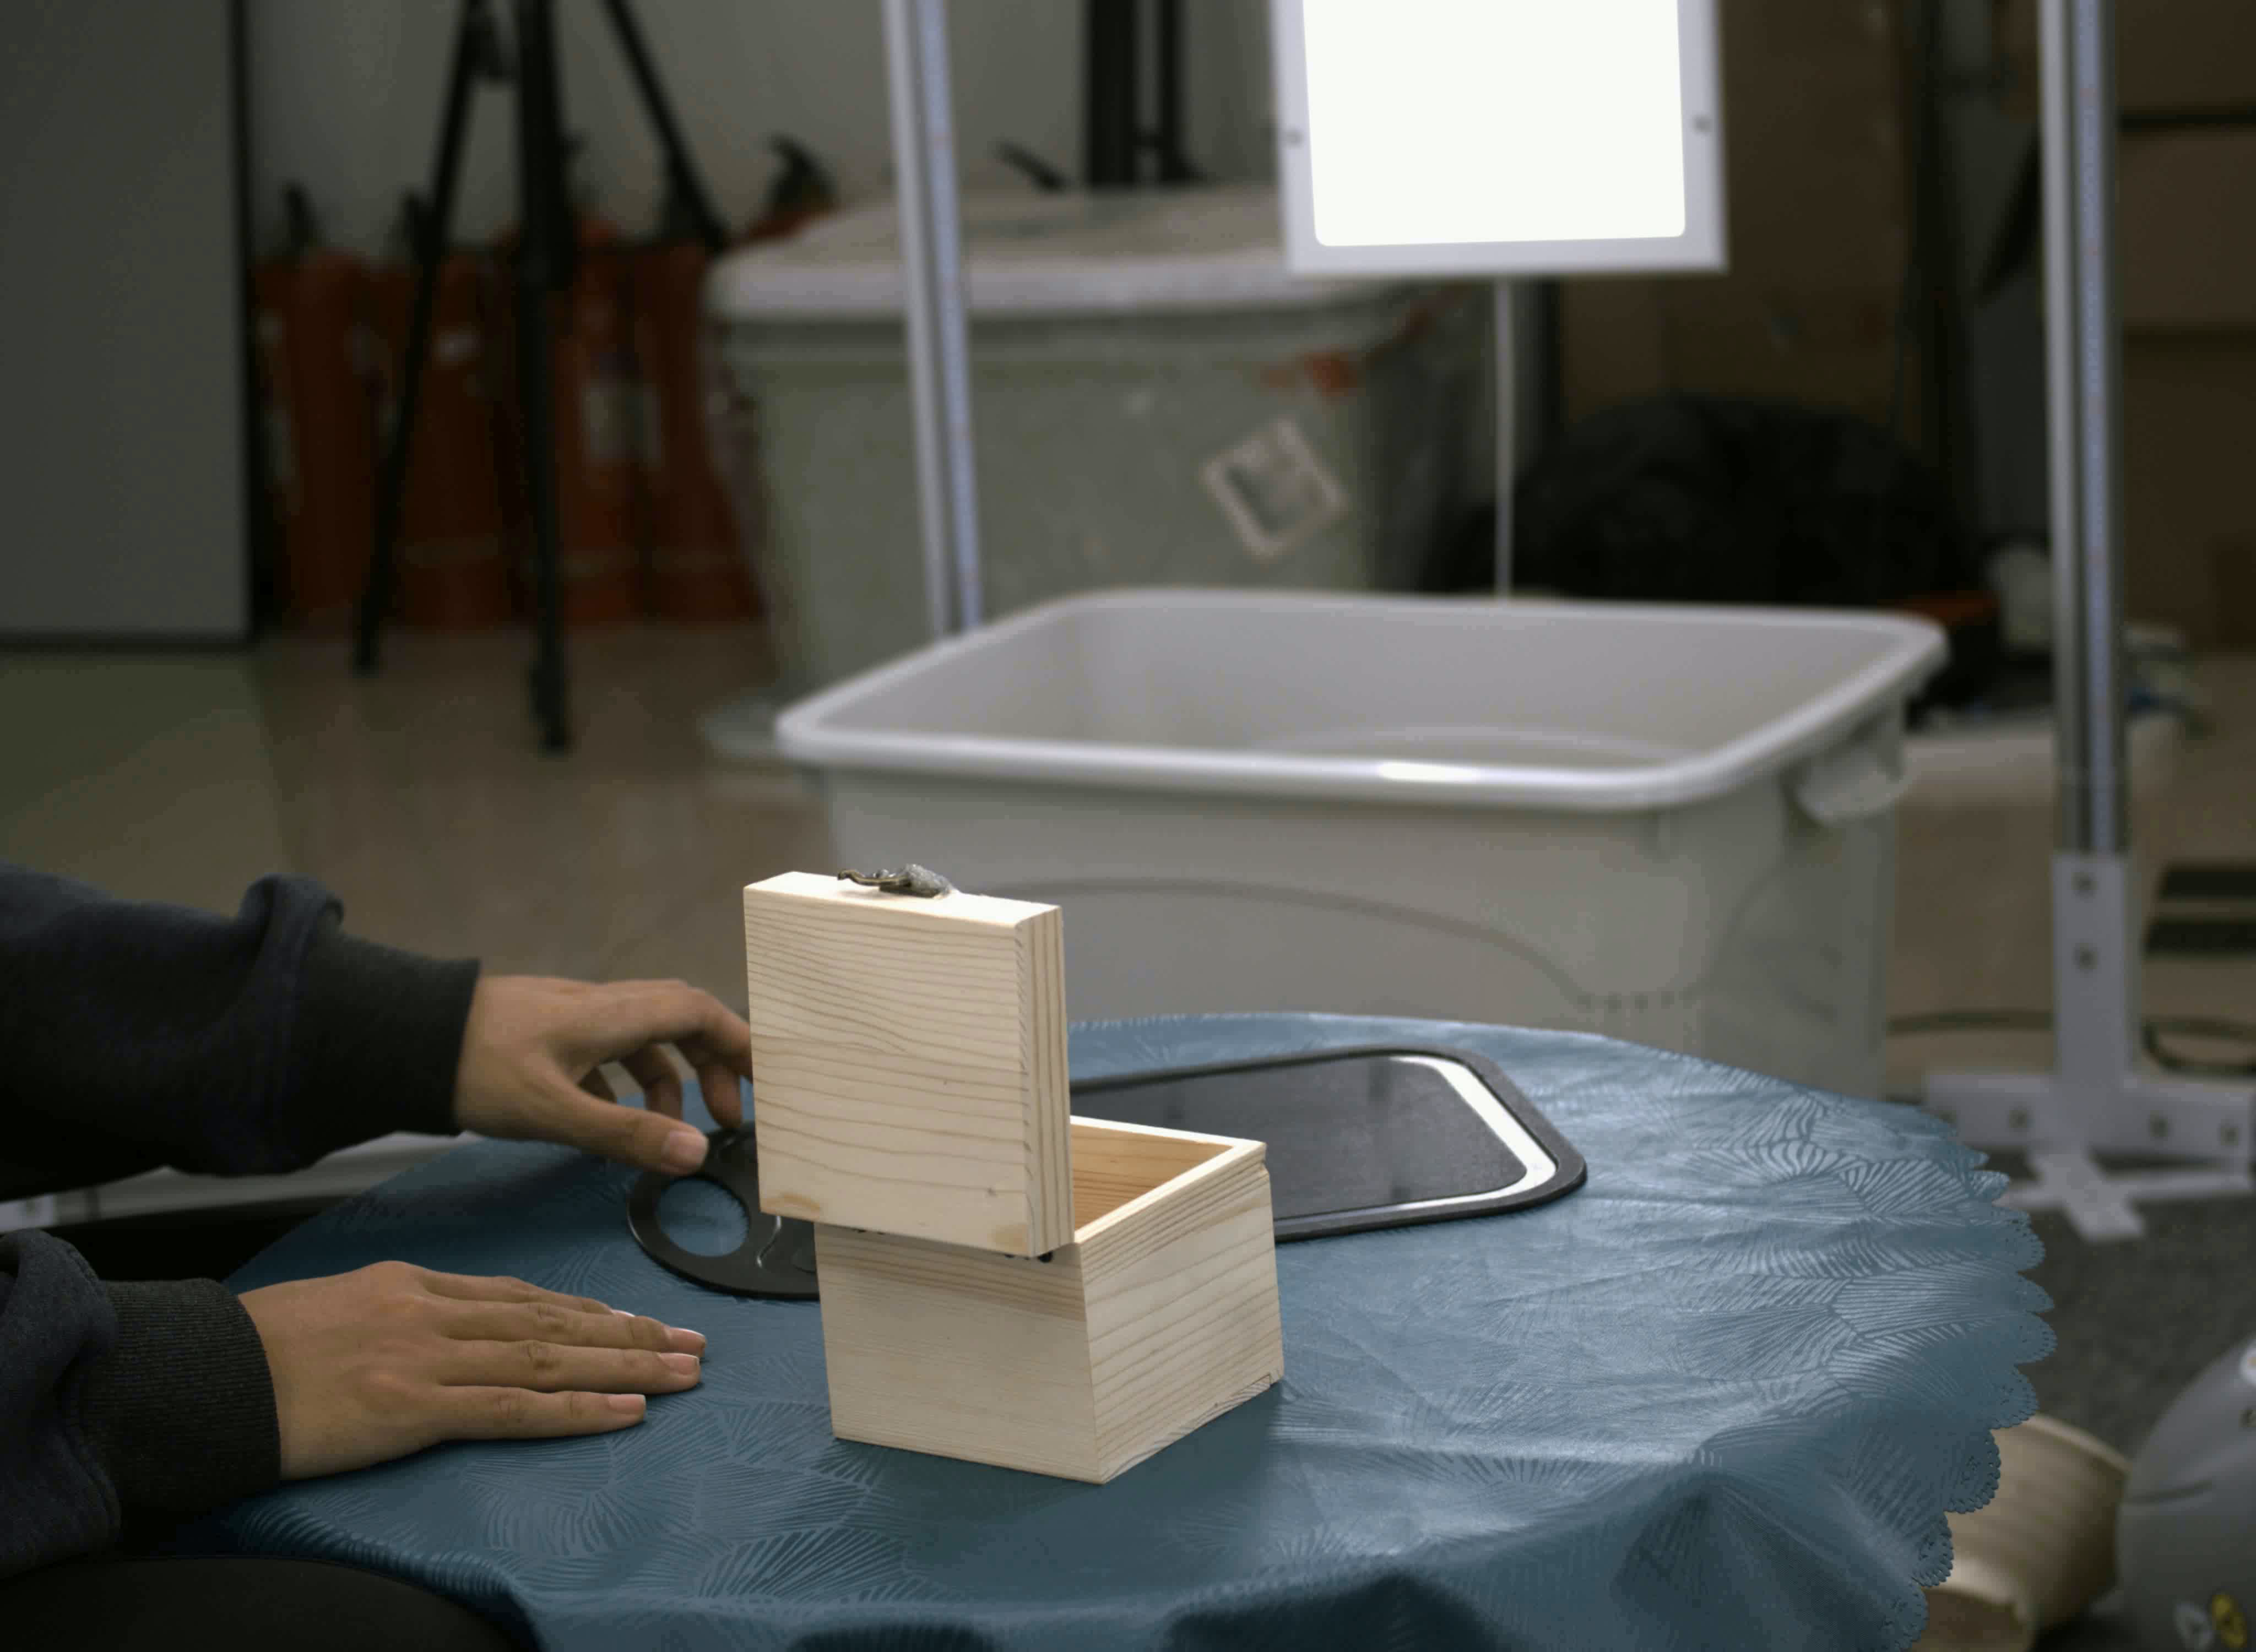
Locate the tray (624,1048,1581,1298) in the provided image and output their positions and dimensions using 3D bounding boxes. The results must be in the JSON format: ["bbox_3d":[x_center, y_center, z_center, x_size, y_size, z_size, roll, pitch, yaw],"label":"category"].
[{"bbox_3d":[-0.014,0.118,1.922,0.323,0.010,0.212,-7,13,-6],"label":"tray"}]

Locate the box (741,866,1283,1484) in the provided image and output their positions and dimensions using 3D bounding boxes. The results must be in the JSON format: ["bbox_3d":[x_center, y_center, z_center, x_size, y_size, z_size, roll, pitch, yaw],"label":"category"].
[{"bbox_3d":[-0.032,0.092,1.660,0.105,0.185,0.130,7,19,35],"label":"box"}]
